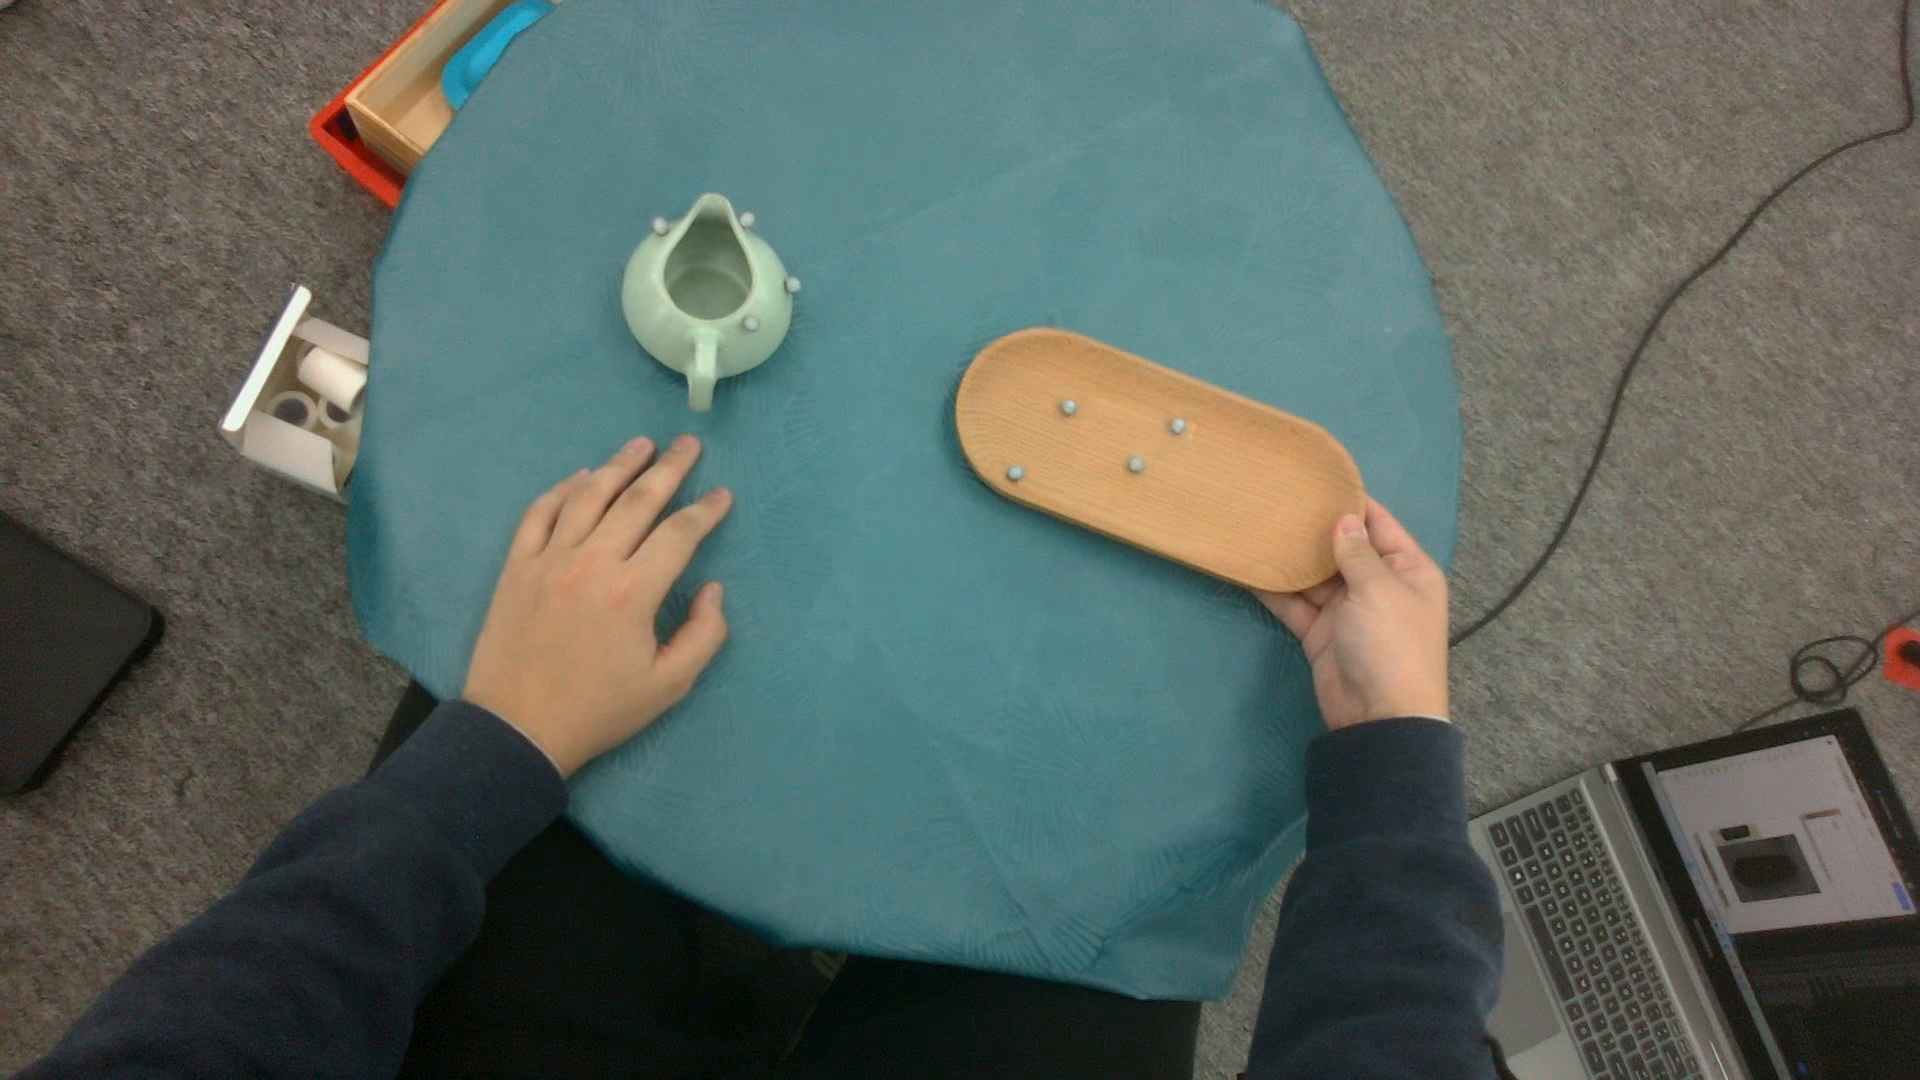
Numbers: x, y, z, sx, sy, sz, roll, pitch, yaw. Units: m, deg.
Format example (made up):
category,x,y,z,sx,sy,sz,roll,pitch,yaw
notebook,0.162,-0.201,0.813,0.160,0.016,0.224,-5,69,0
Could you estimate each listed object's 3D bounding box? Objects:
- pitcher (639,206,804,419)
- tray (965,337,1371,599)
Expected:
category,x,y,z,sx,sy,sz,roll,pitch,yaw
pitcher,-0.125,-0.114,0.720,0.086,0.060,0.108,2,80,-9
tray,0.114,-0.039,0.757,0.231,0.020,0.102,21,76,-2
